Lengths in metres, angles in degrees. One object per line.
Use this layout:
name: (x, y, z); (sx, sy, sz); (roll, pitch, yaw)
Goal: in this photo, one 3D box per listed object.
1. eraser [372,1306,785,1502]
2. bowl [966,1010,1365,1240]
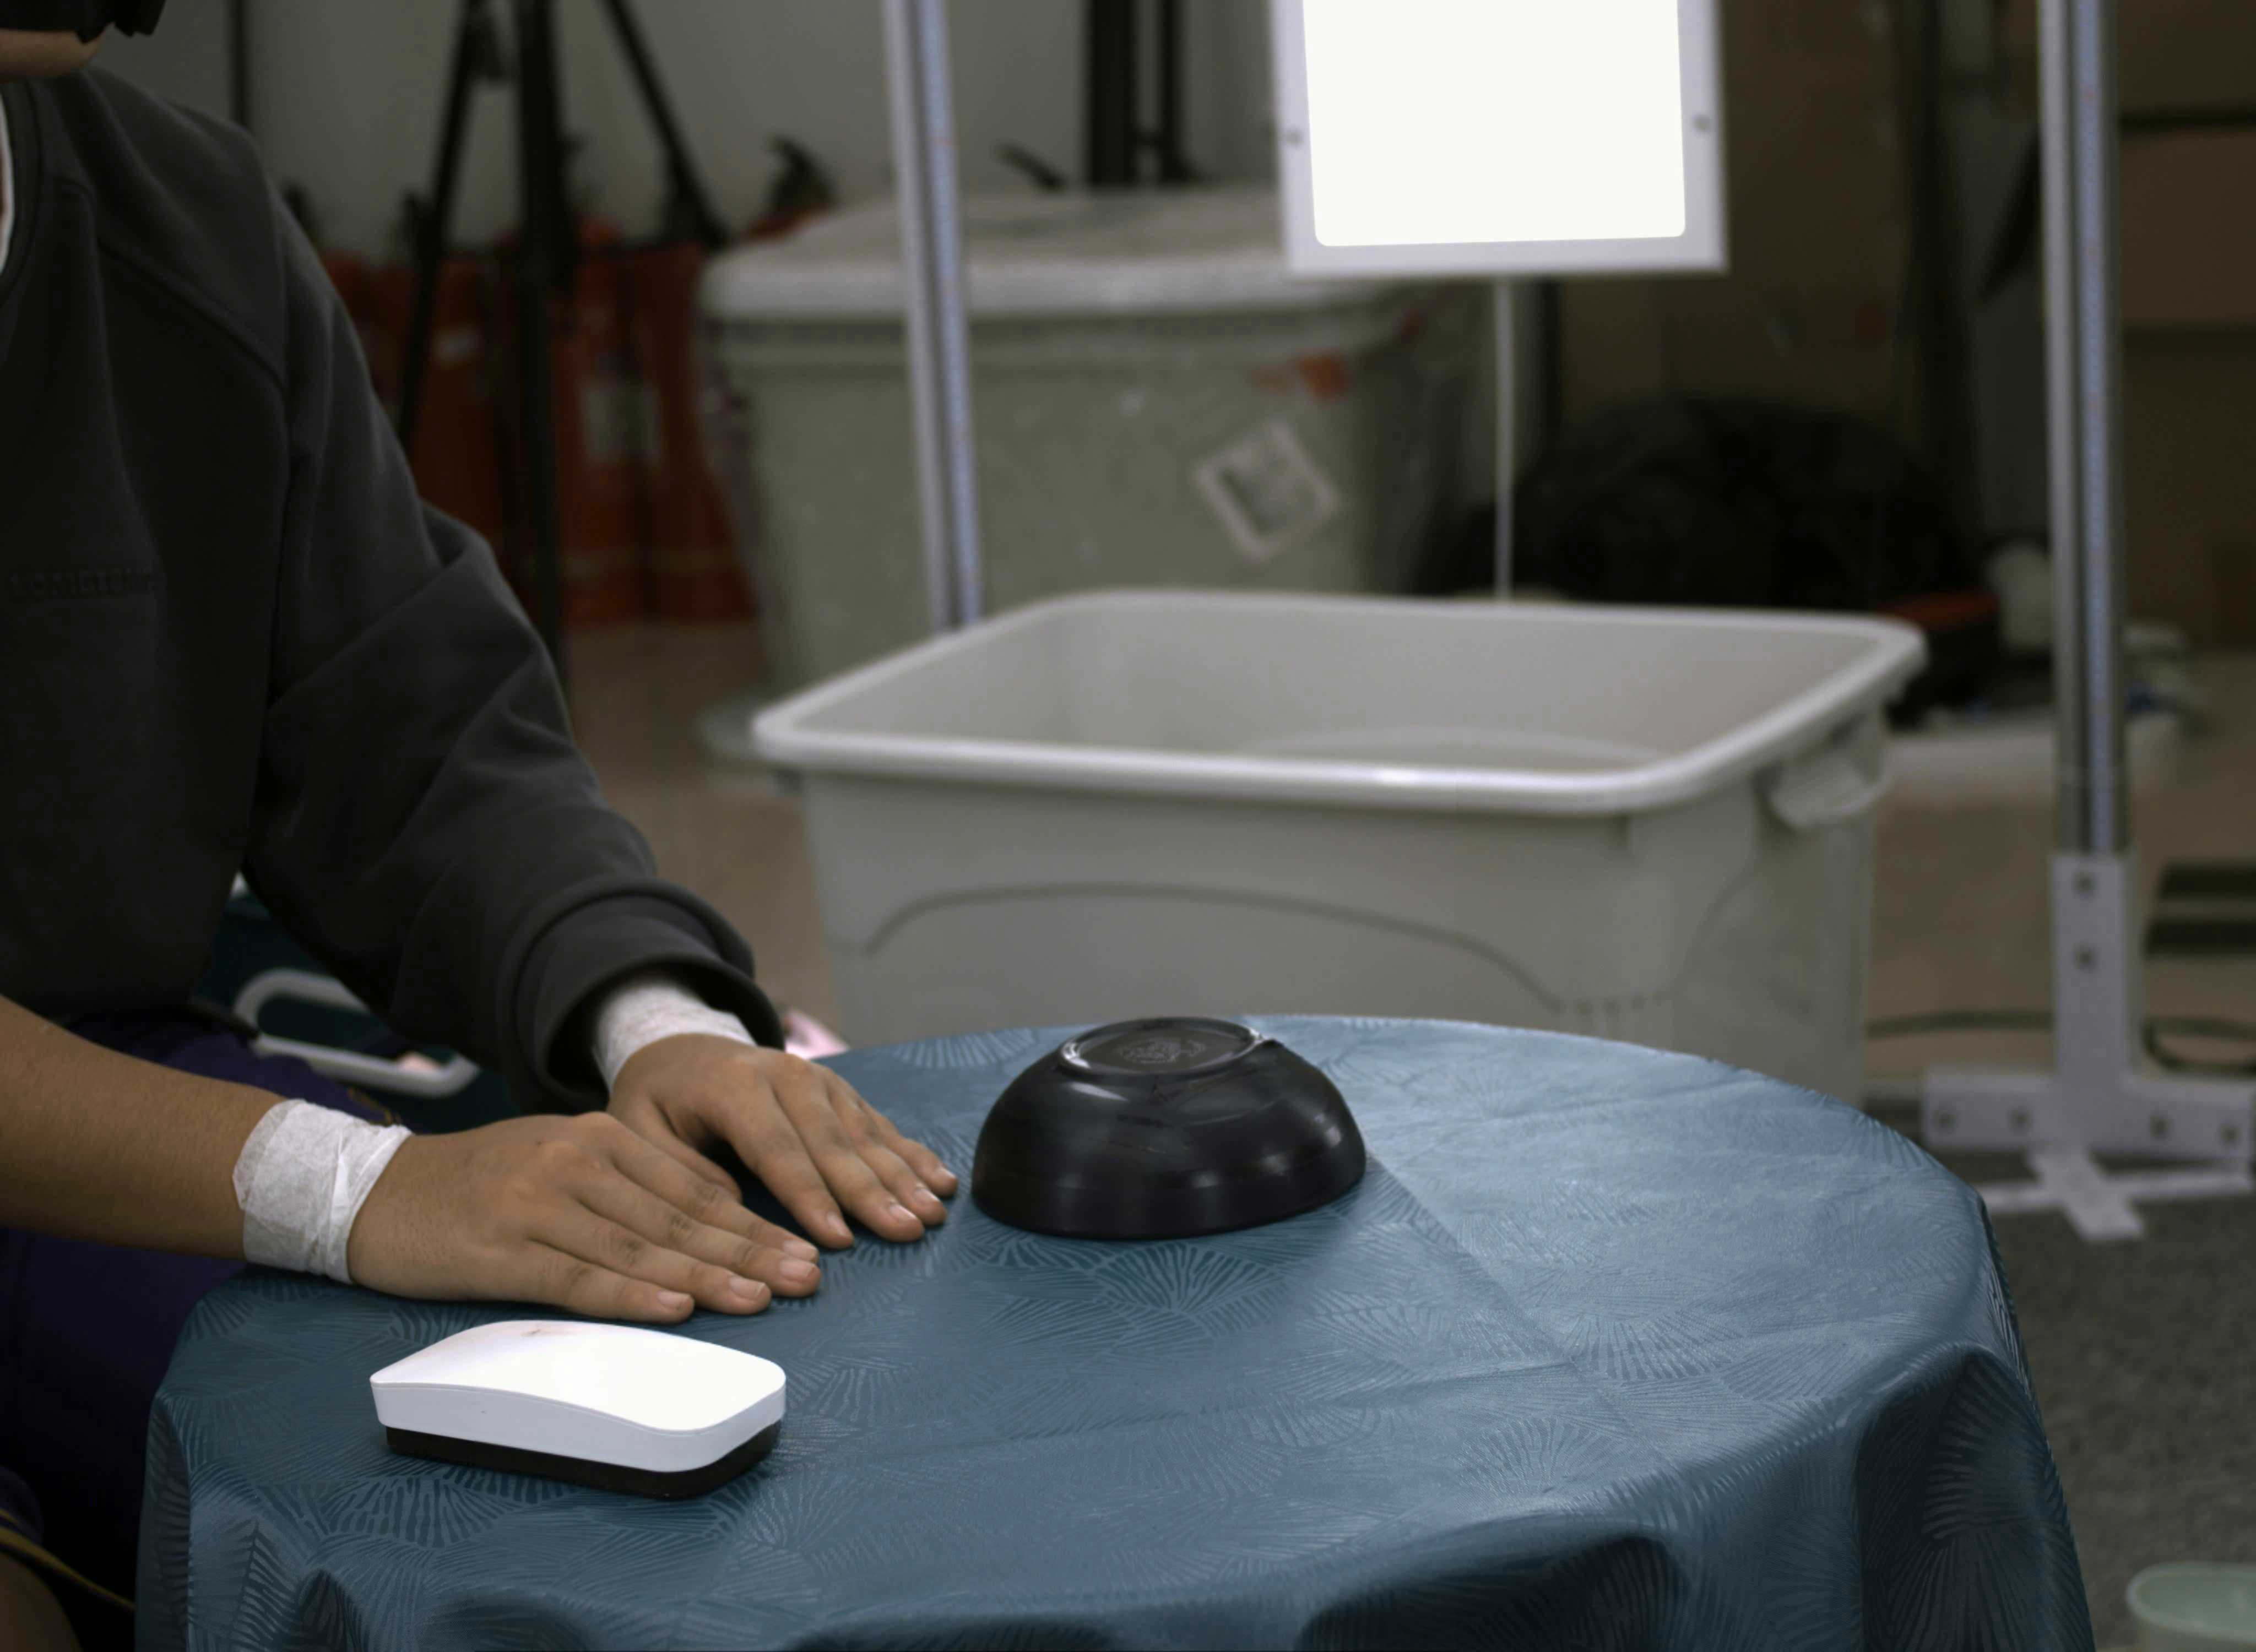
eraser: (-0.168, 0.175, 1.693); (0.134, 0.034, 0.062); (7, 17, 36)
bowl: (0.012, 0.097, 1.903); (0.139, 0.050, 0.140); (-5, 15, 0)
